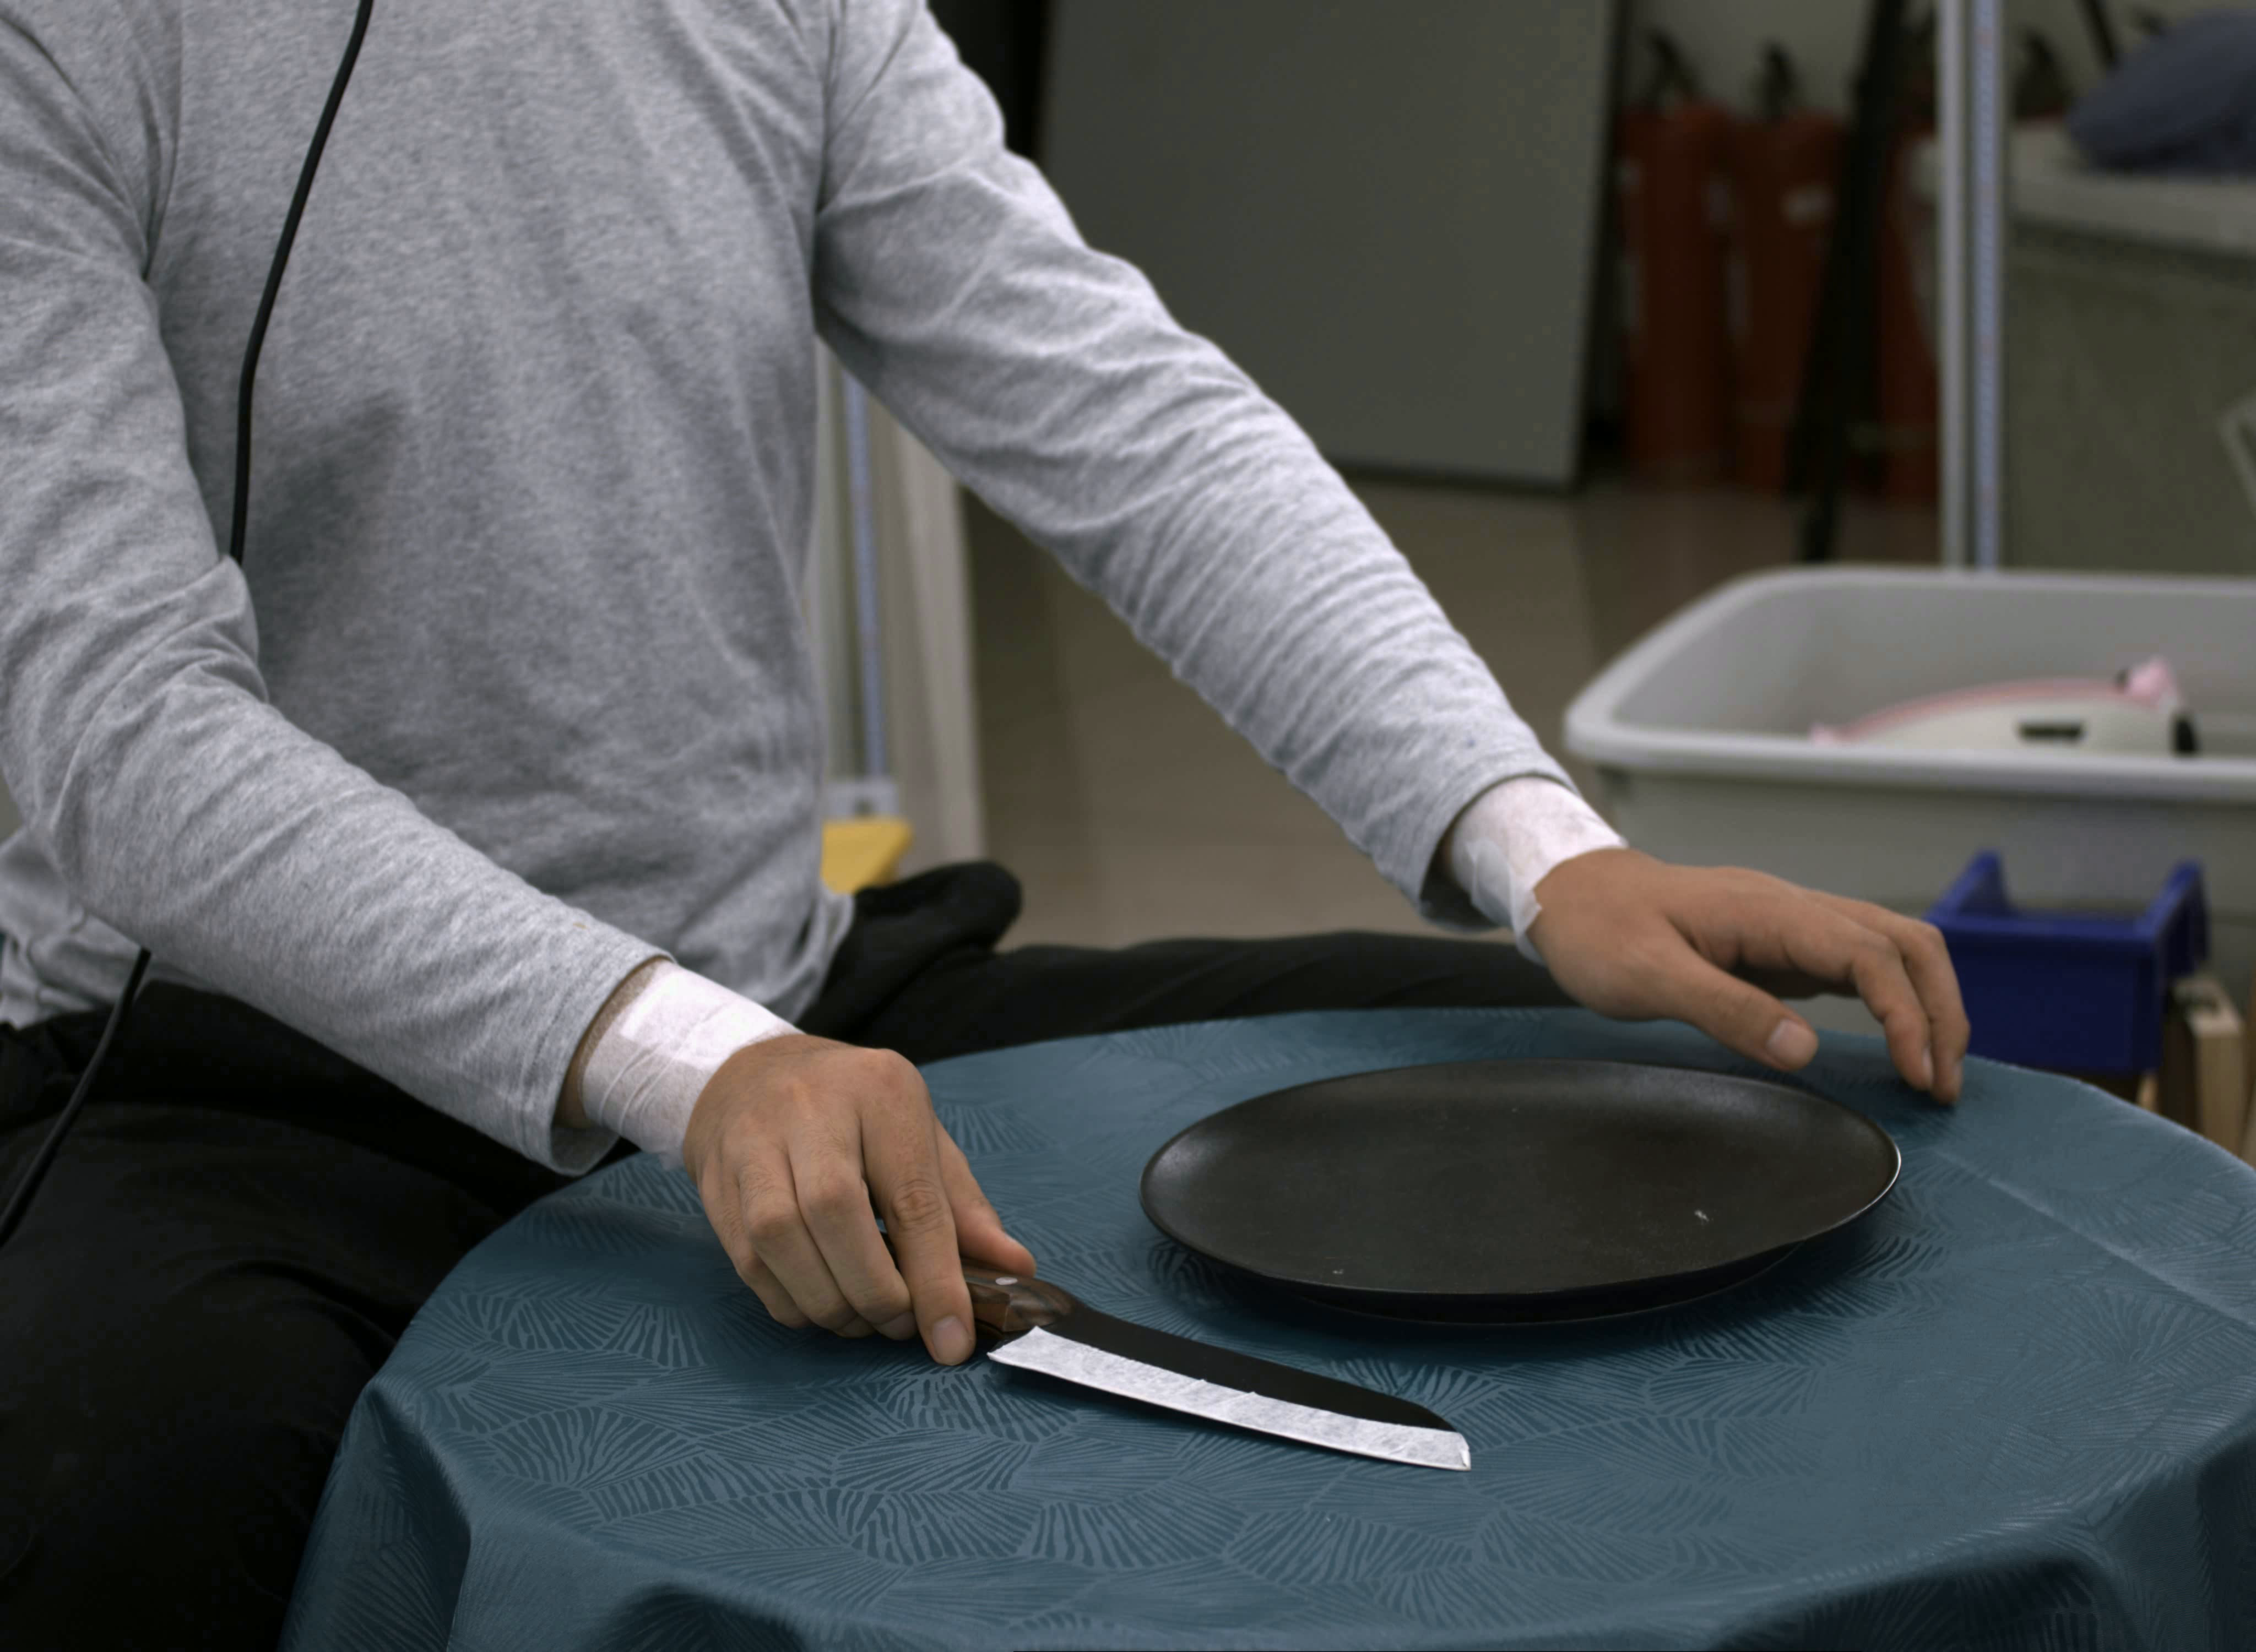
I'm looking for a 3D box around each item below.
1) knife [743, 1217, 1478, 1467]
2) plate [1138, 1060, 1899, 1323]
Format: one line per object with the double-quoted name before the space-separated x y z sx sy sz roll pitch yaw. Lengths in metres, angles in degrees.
"knife" -0.010 0.155 1.601 0.291 0.020 0.049 12 25 41
"plate" 0.123 0.118 1.704 0.241 0.024 0.245 -4 13 0
